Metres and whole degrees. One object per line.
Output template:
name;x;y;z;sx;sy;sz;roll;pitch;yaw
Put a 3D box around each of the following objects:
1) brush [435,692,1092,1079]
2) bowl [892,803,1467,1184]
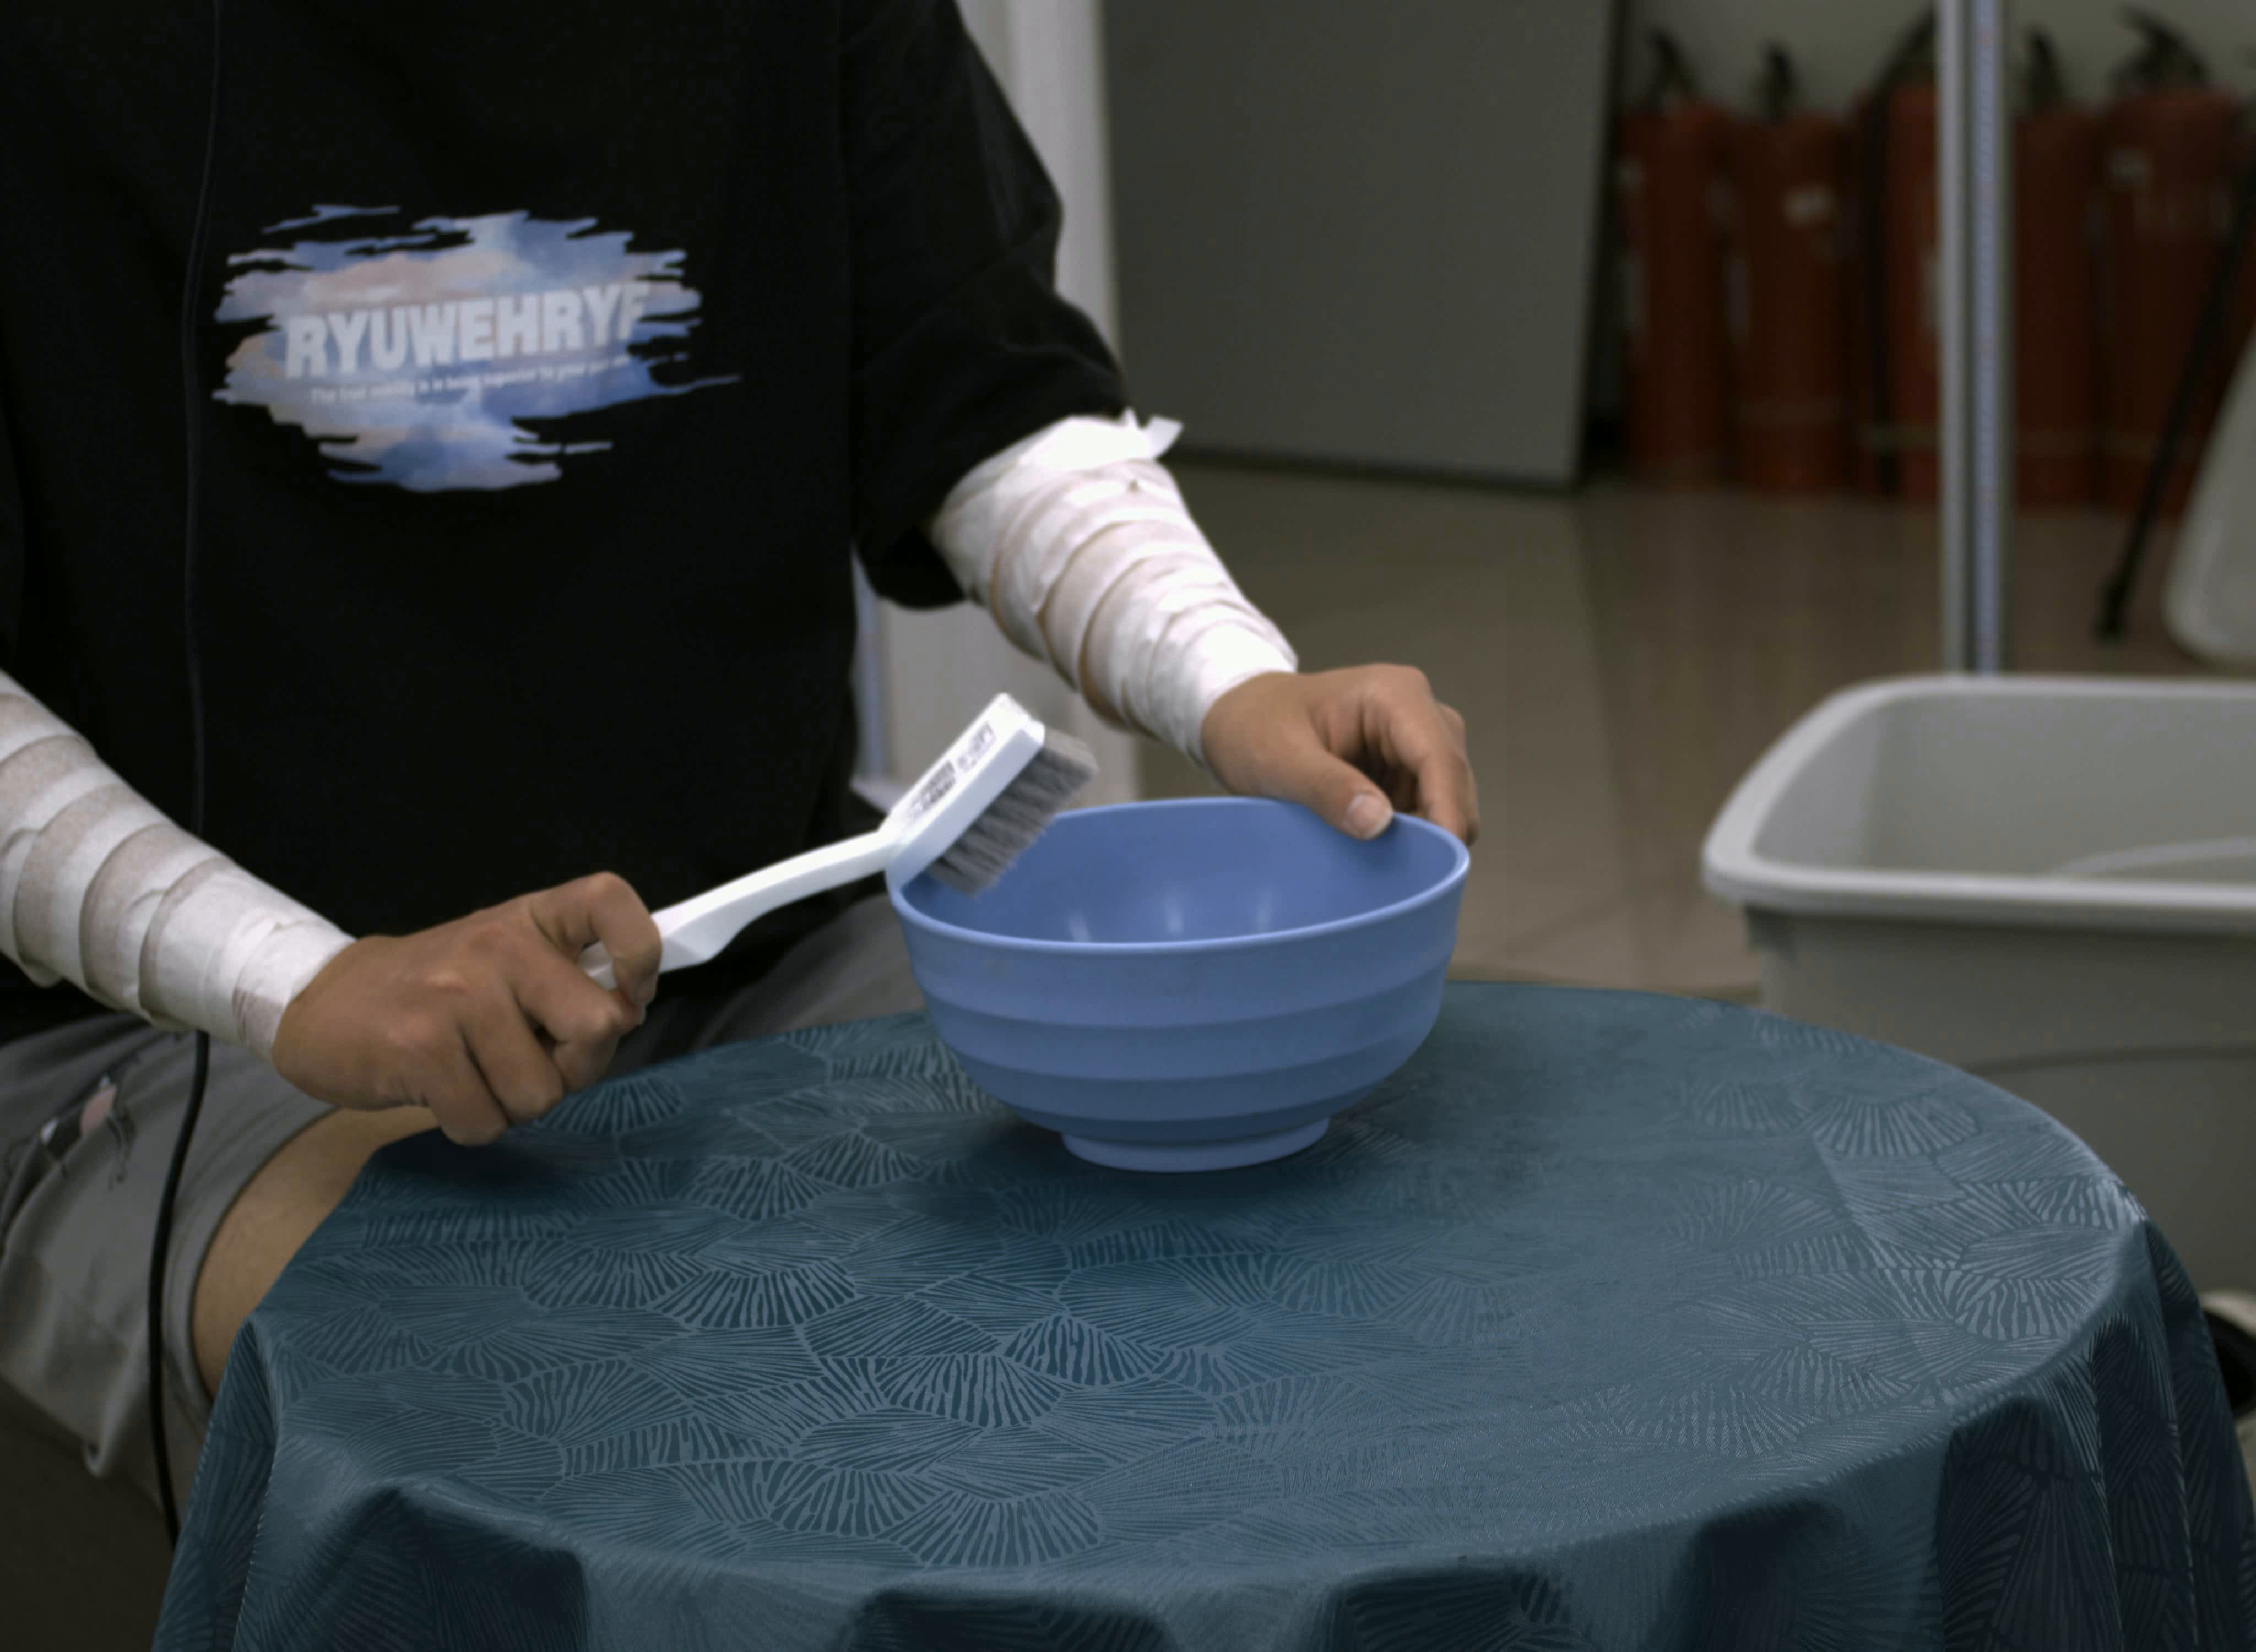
brush;-0.120;0.034;1.824;0.242;0.050;0.034;-32;24;-1
bowl;0.021;0.062;1.820;0.194;0.096;0.197;-6;13;1
